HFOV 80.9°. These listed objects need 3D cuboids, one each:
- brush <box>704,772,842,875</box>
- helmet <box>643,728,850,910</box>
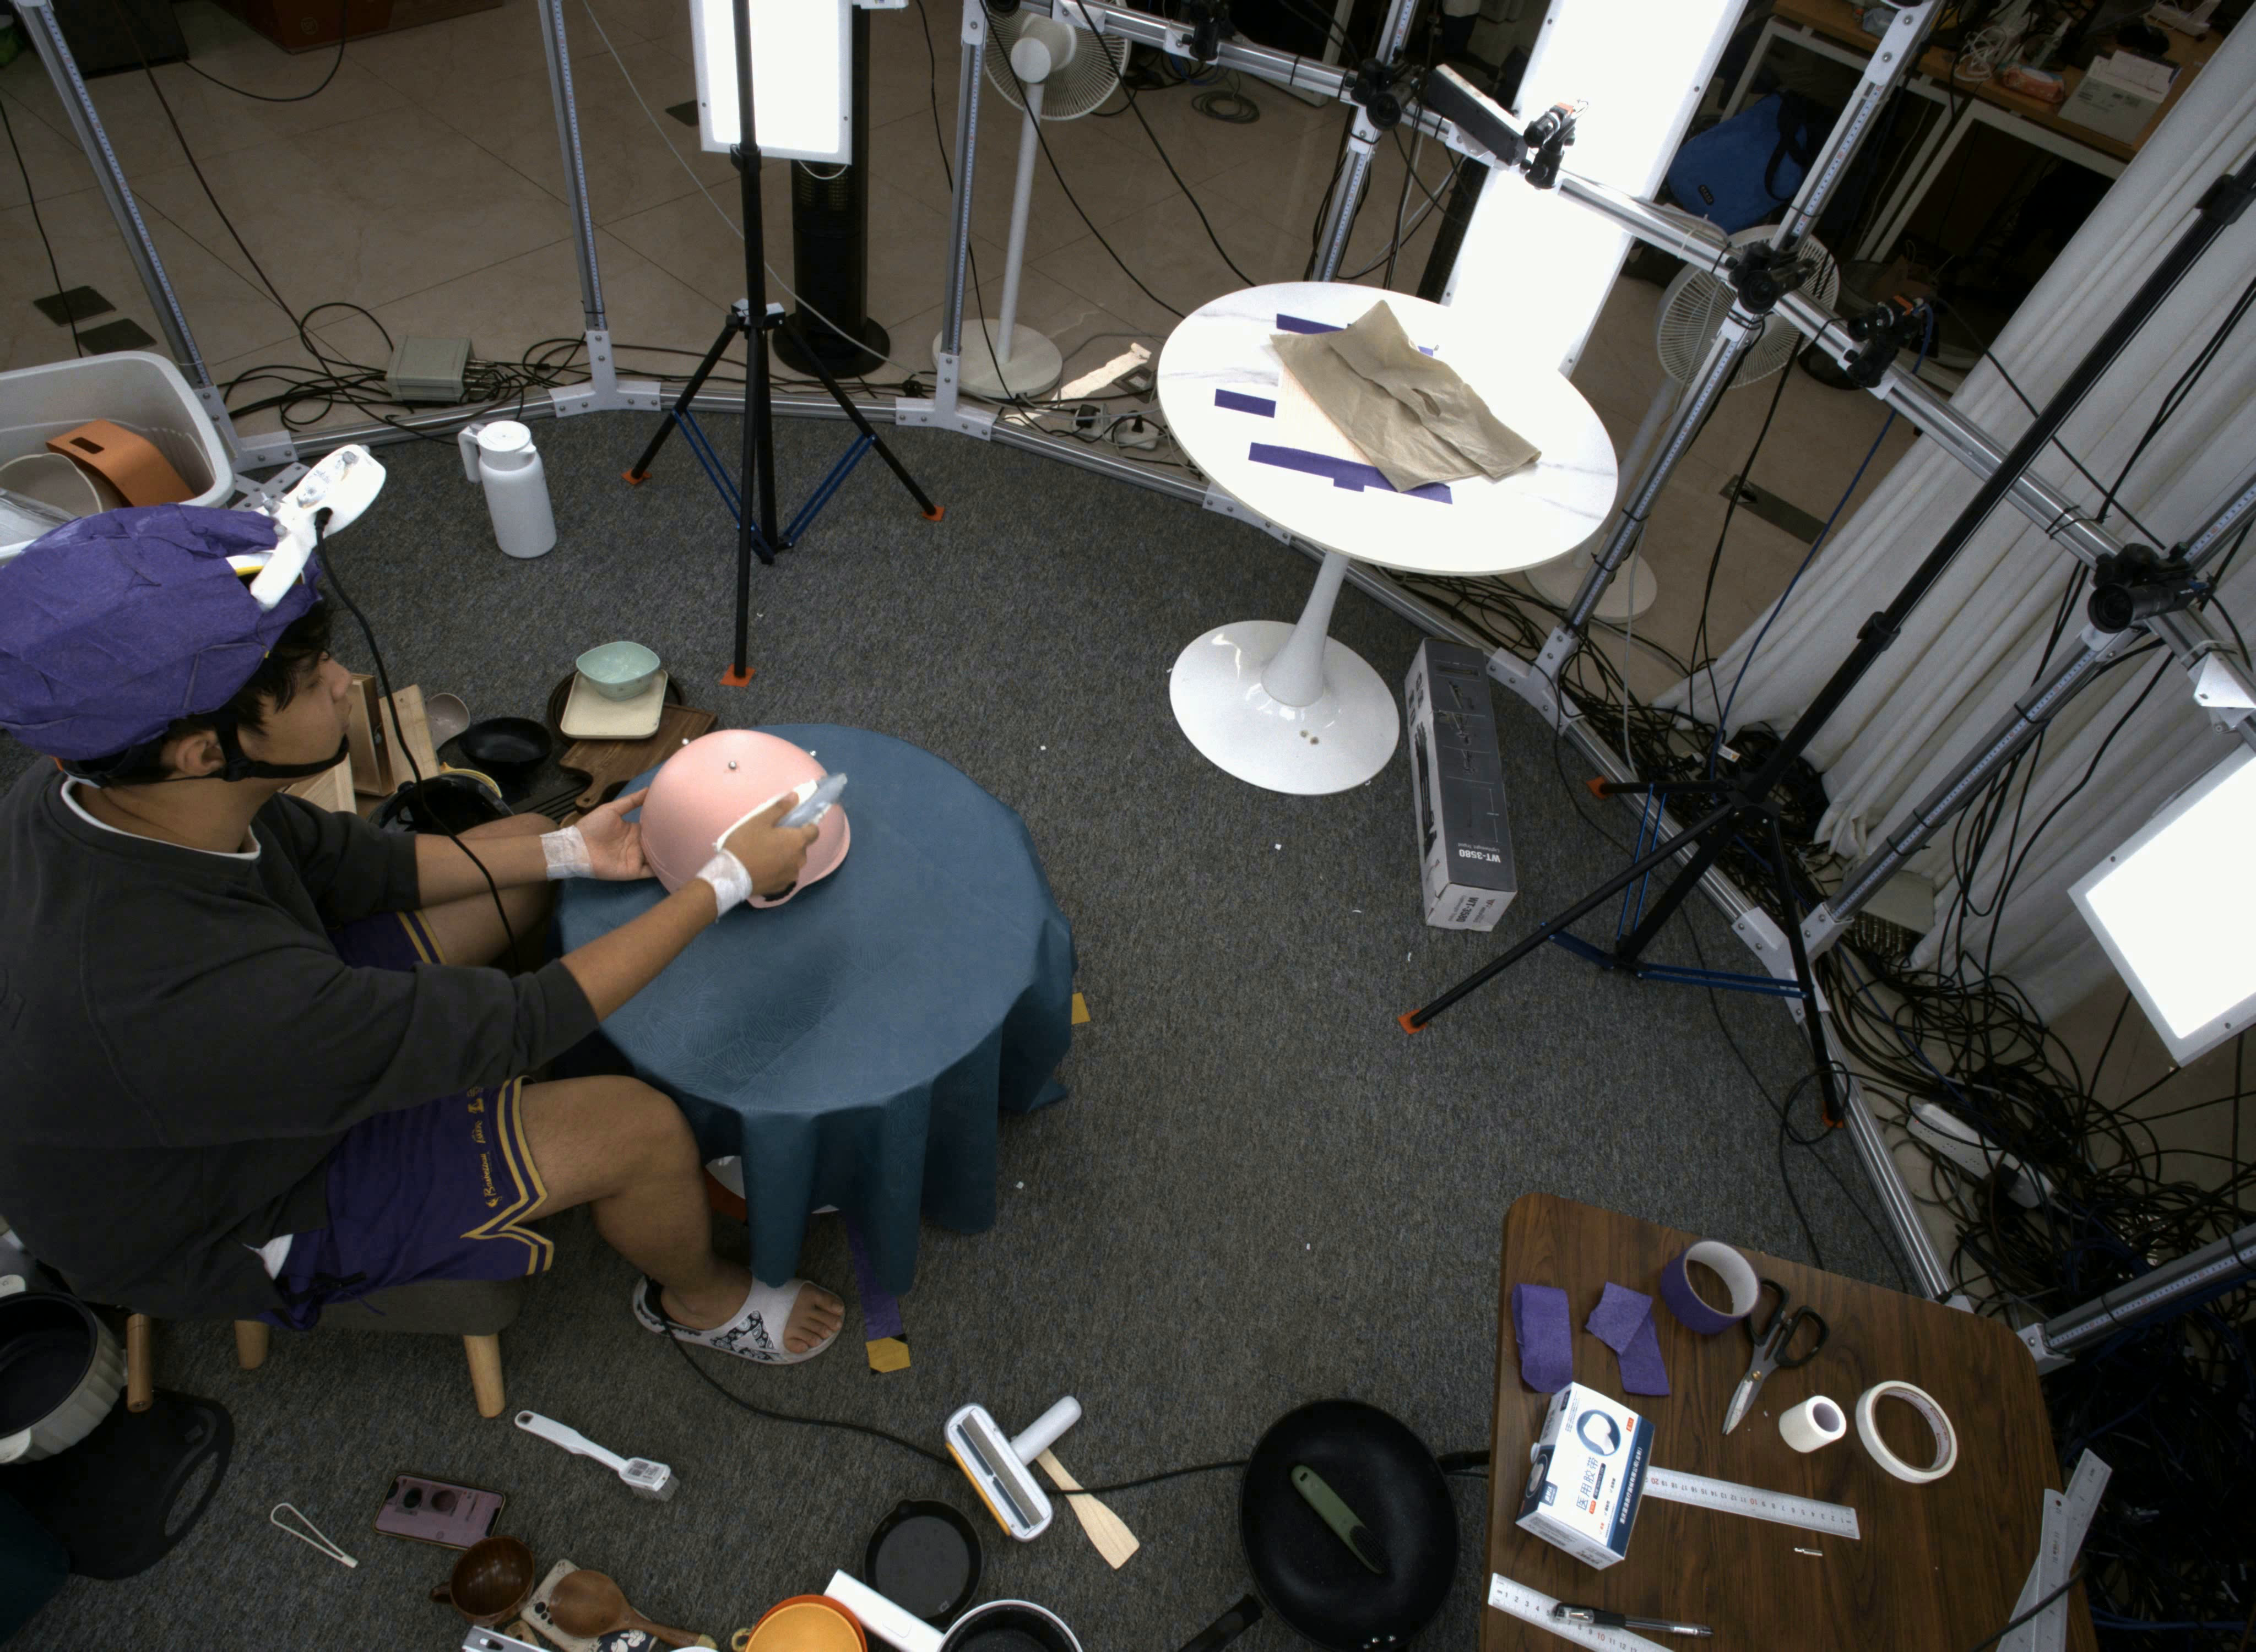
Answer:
[{"bbox_3d":[-0.395,-0.010,1.479,0.175,0.092,0.063,-37,108,-19],"label":"brush"},{"bbox_3d":[-0.479,-0.030,1.638,0.268,0.161,0.228,-4,53,-24],"label":"helmet"}]
